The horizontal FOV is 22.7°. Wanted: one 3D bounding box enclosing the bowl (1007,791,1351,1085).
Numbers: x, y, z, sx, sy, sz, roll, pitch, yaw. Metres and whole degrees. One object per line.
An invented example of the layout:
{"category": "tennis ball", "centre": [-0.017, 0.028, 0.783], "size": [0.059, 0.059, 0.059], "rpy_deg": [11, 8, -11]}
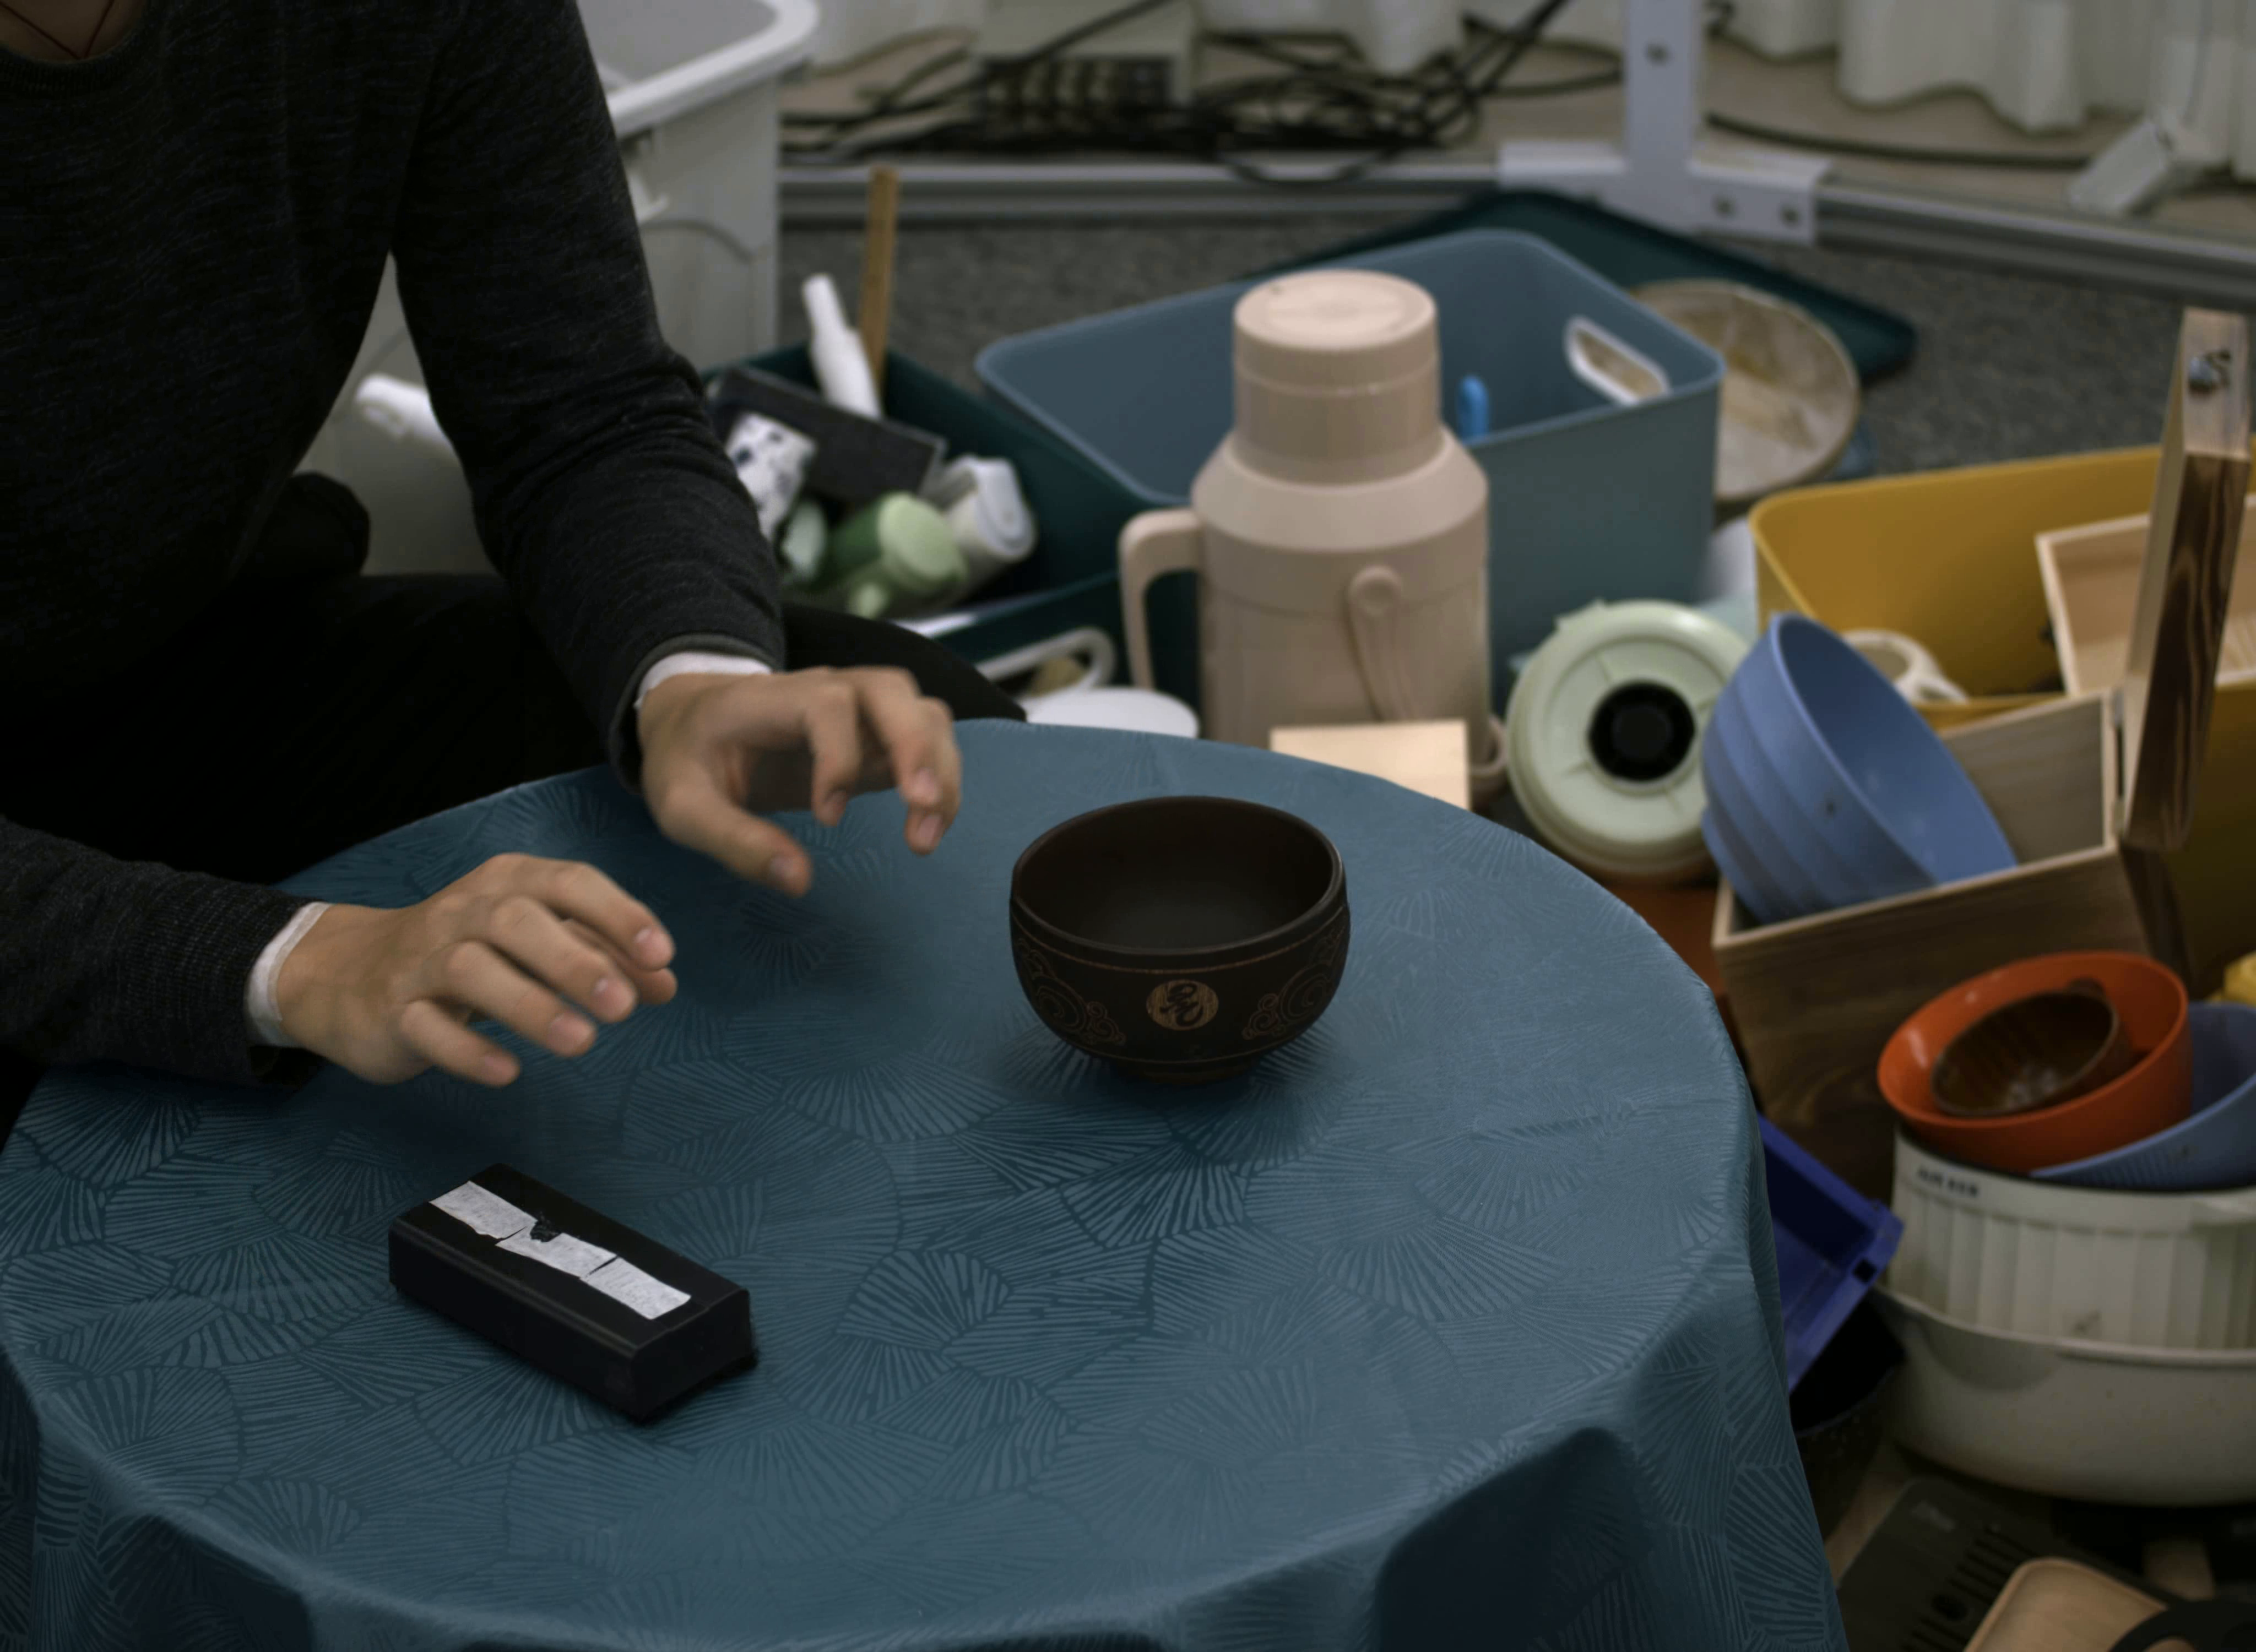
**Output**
{"category": "bowl", "centre": [0.018, 0.045, 1.931], "size": [0.117, 0.069, 0.120], "rpy_deg": [-3, 29, 2]}

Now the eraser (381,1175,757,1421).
{"category": "eraser", "centre": [-0.178, 0.150, 1.793], "size": [0.125, 0.030, 0.054], "rpy_deg": [21, 32, 39]}
